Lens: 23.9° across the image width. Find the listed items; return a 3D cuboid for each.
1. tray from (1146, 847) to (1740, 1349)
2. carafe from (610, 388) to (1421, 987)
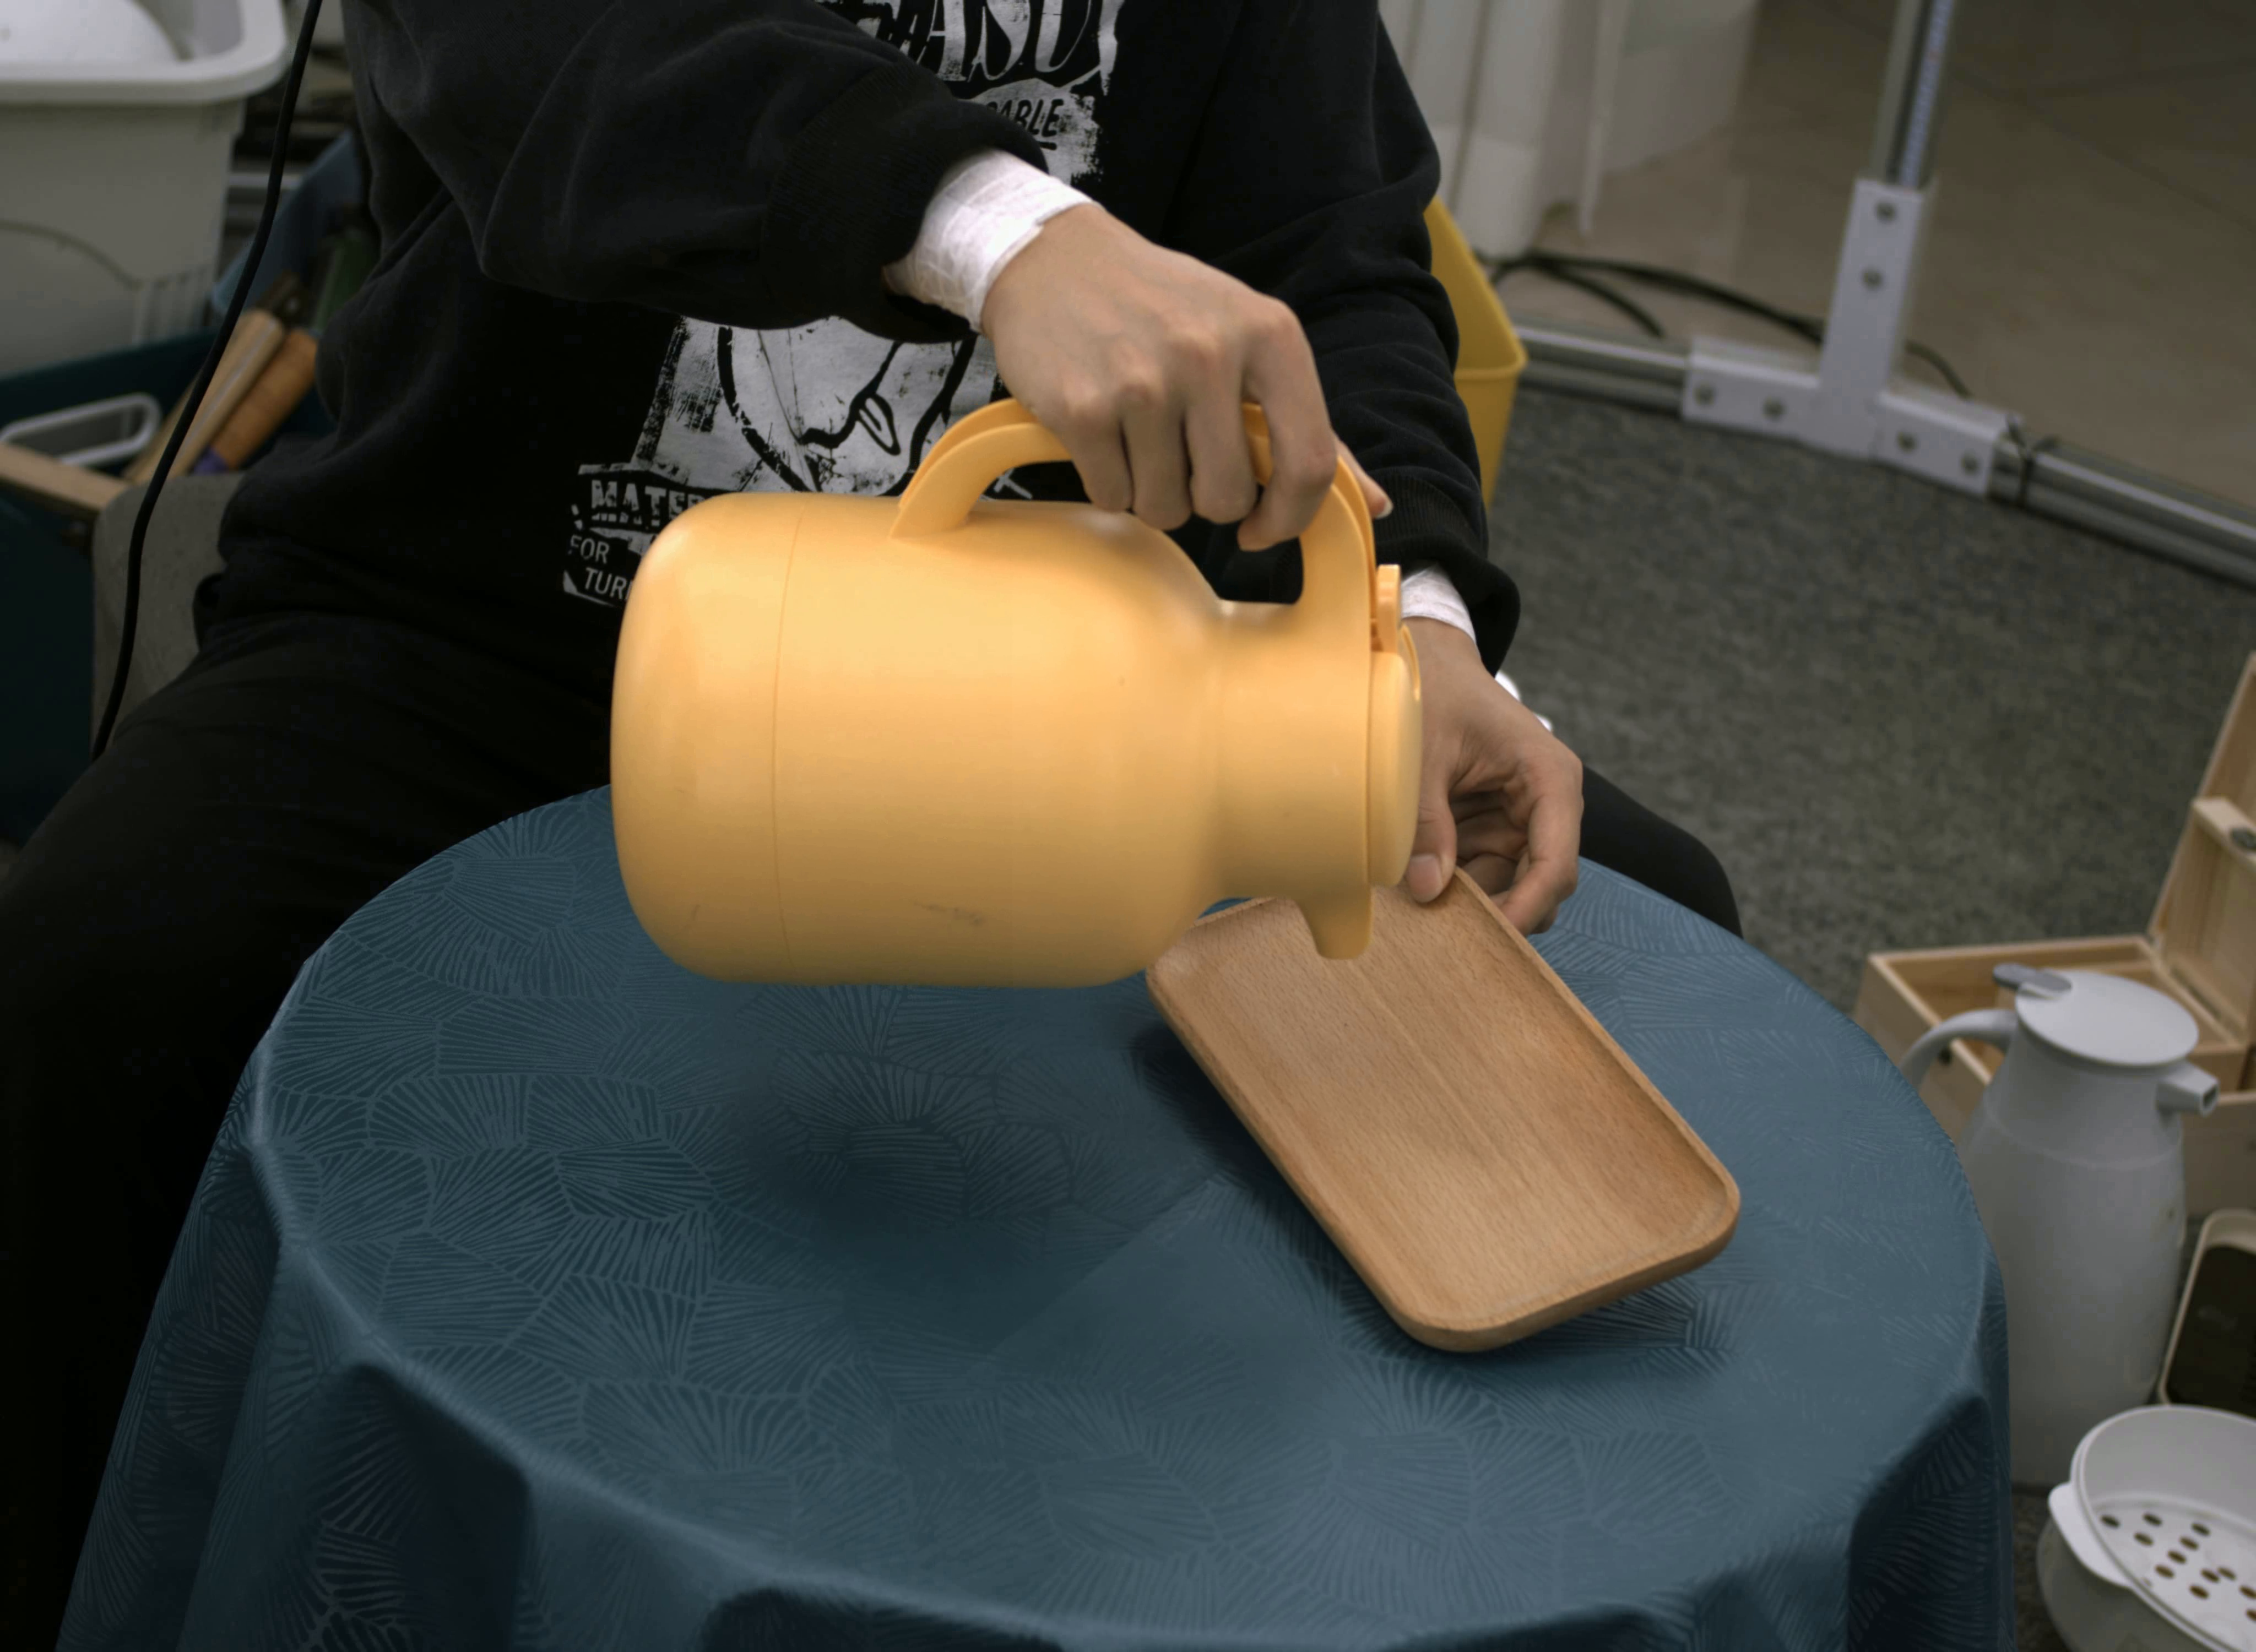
[{"bbox_3d":[0.105,0.091,1.830,0.130,0.023,0.253,-17,36,-16],"label":"tray"},{"bbox_3d":[-0.034,-0.047,1.745,0.260,0.202,0.164,3,24,4],"label":"carafe"}]
